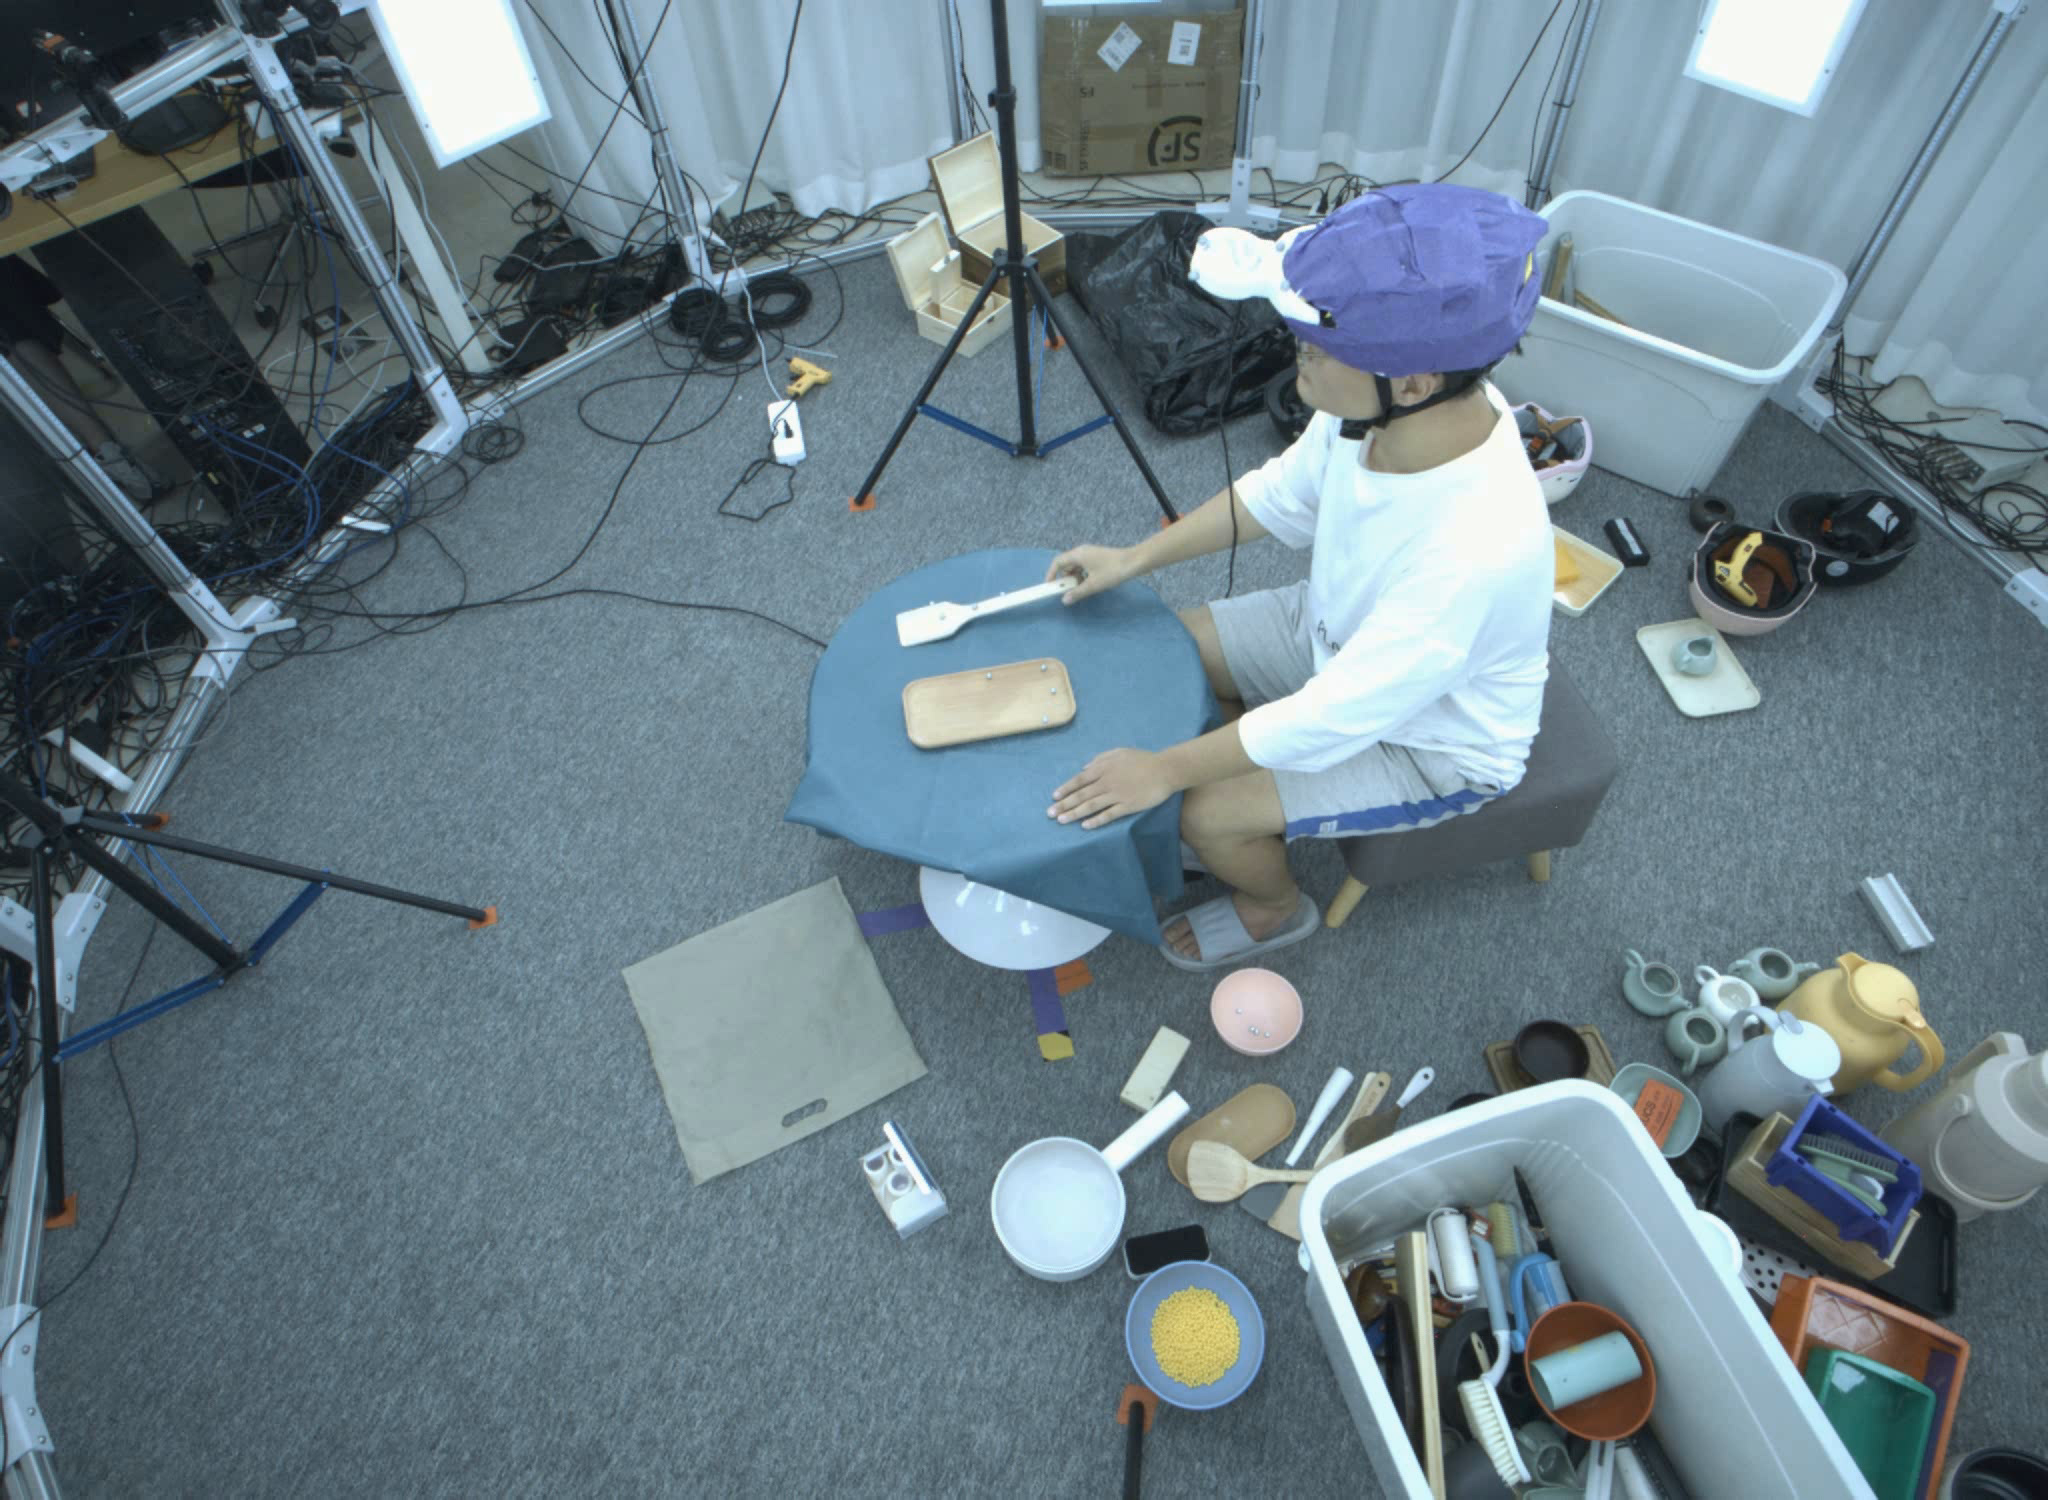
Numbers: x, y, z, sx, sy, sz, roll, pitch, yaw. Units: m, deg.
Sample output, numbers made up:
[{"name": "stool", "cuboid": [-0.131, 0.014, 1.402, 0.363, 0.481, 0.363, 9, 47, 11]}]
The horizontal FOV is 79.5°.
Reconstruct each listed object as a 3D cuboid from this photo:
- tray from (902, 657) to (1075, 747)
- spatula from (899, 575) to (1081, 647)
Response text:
[{"name": "tray", "cuboid": [-0.054, -0.071, 1.827, 0.251, 0.023, 0.128, -9, 52, -4]}, {"name": "spatula", "cuboid": [-0.053, -0.226, 1.921, 0.293, 0.011, 0.071, -16, 55, 1]}]
